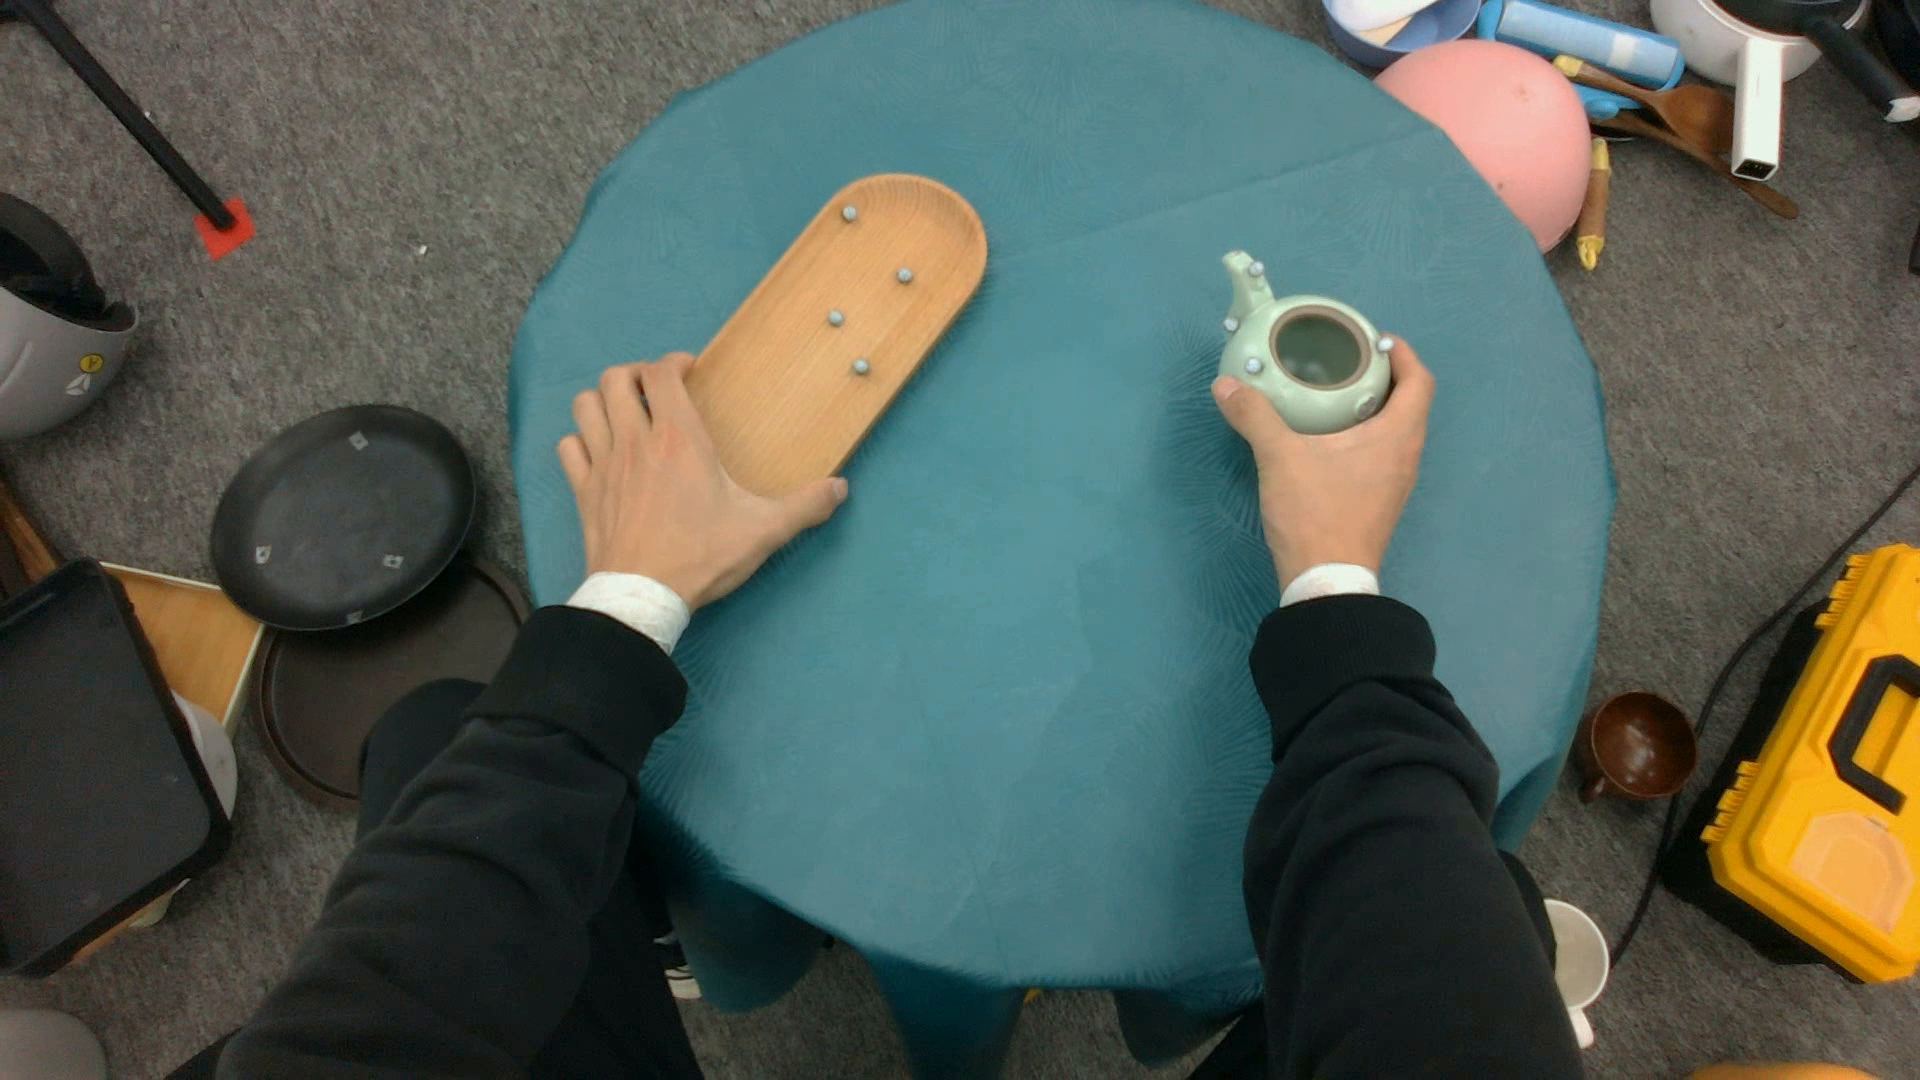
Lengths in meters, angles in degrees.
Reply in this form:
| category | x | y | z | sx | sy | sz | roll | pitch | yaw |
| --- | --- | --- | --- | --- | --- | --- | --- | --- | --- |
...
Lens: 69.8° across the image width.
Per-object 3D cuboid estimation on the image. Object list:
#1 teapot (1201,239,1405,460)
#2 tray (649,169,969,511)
| category | x | y | z | sx | sy | sz | roll | pitch | yaw |
| --- | --- | --- | --- | --- | --- | --- | --- | --- | --- |
| teapot | 0.172 | -0.092 | 0.727 | 0.088 | 0.074 | 0.144 | -33 | 70 | -18 |
| tray | -0.080 | -0.114 | 0.756 | 0.101 | 0.020 | 0.232 | 30 | 70 | 10 |
